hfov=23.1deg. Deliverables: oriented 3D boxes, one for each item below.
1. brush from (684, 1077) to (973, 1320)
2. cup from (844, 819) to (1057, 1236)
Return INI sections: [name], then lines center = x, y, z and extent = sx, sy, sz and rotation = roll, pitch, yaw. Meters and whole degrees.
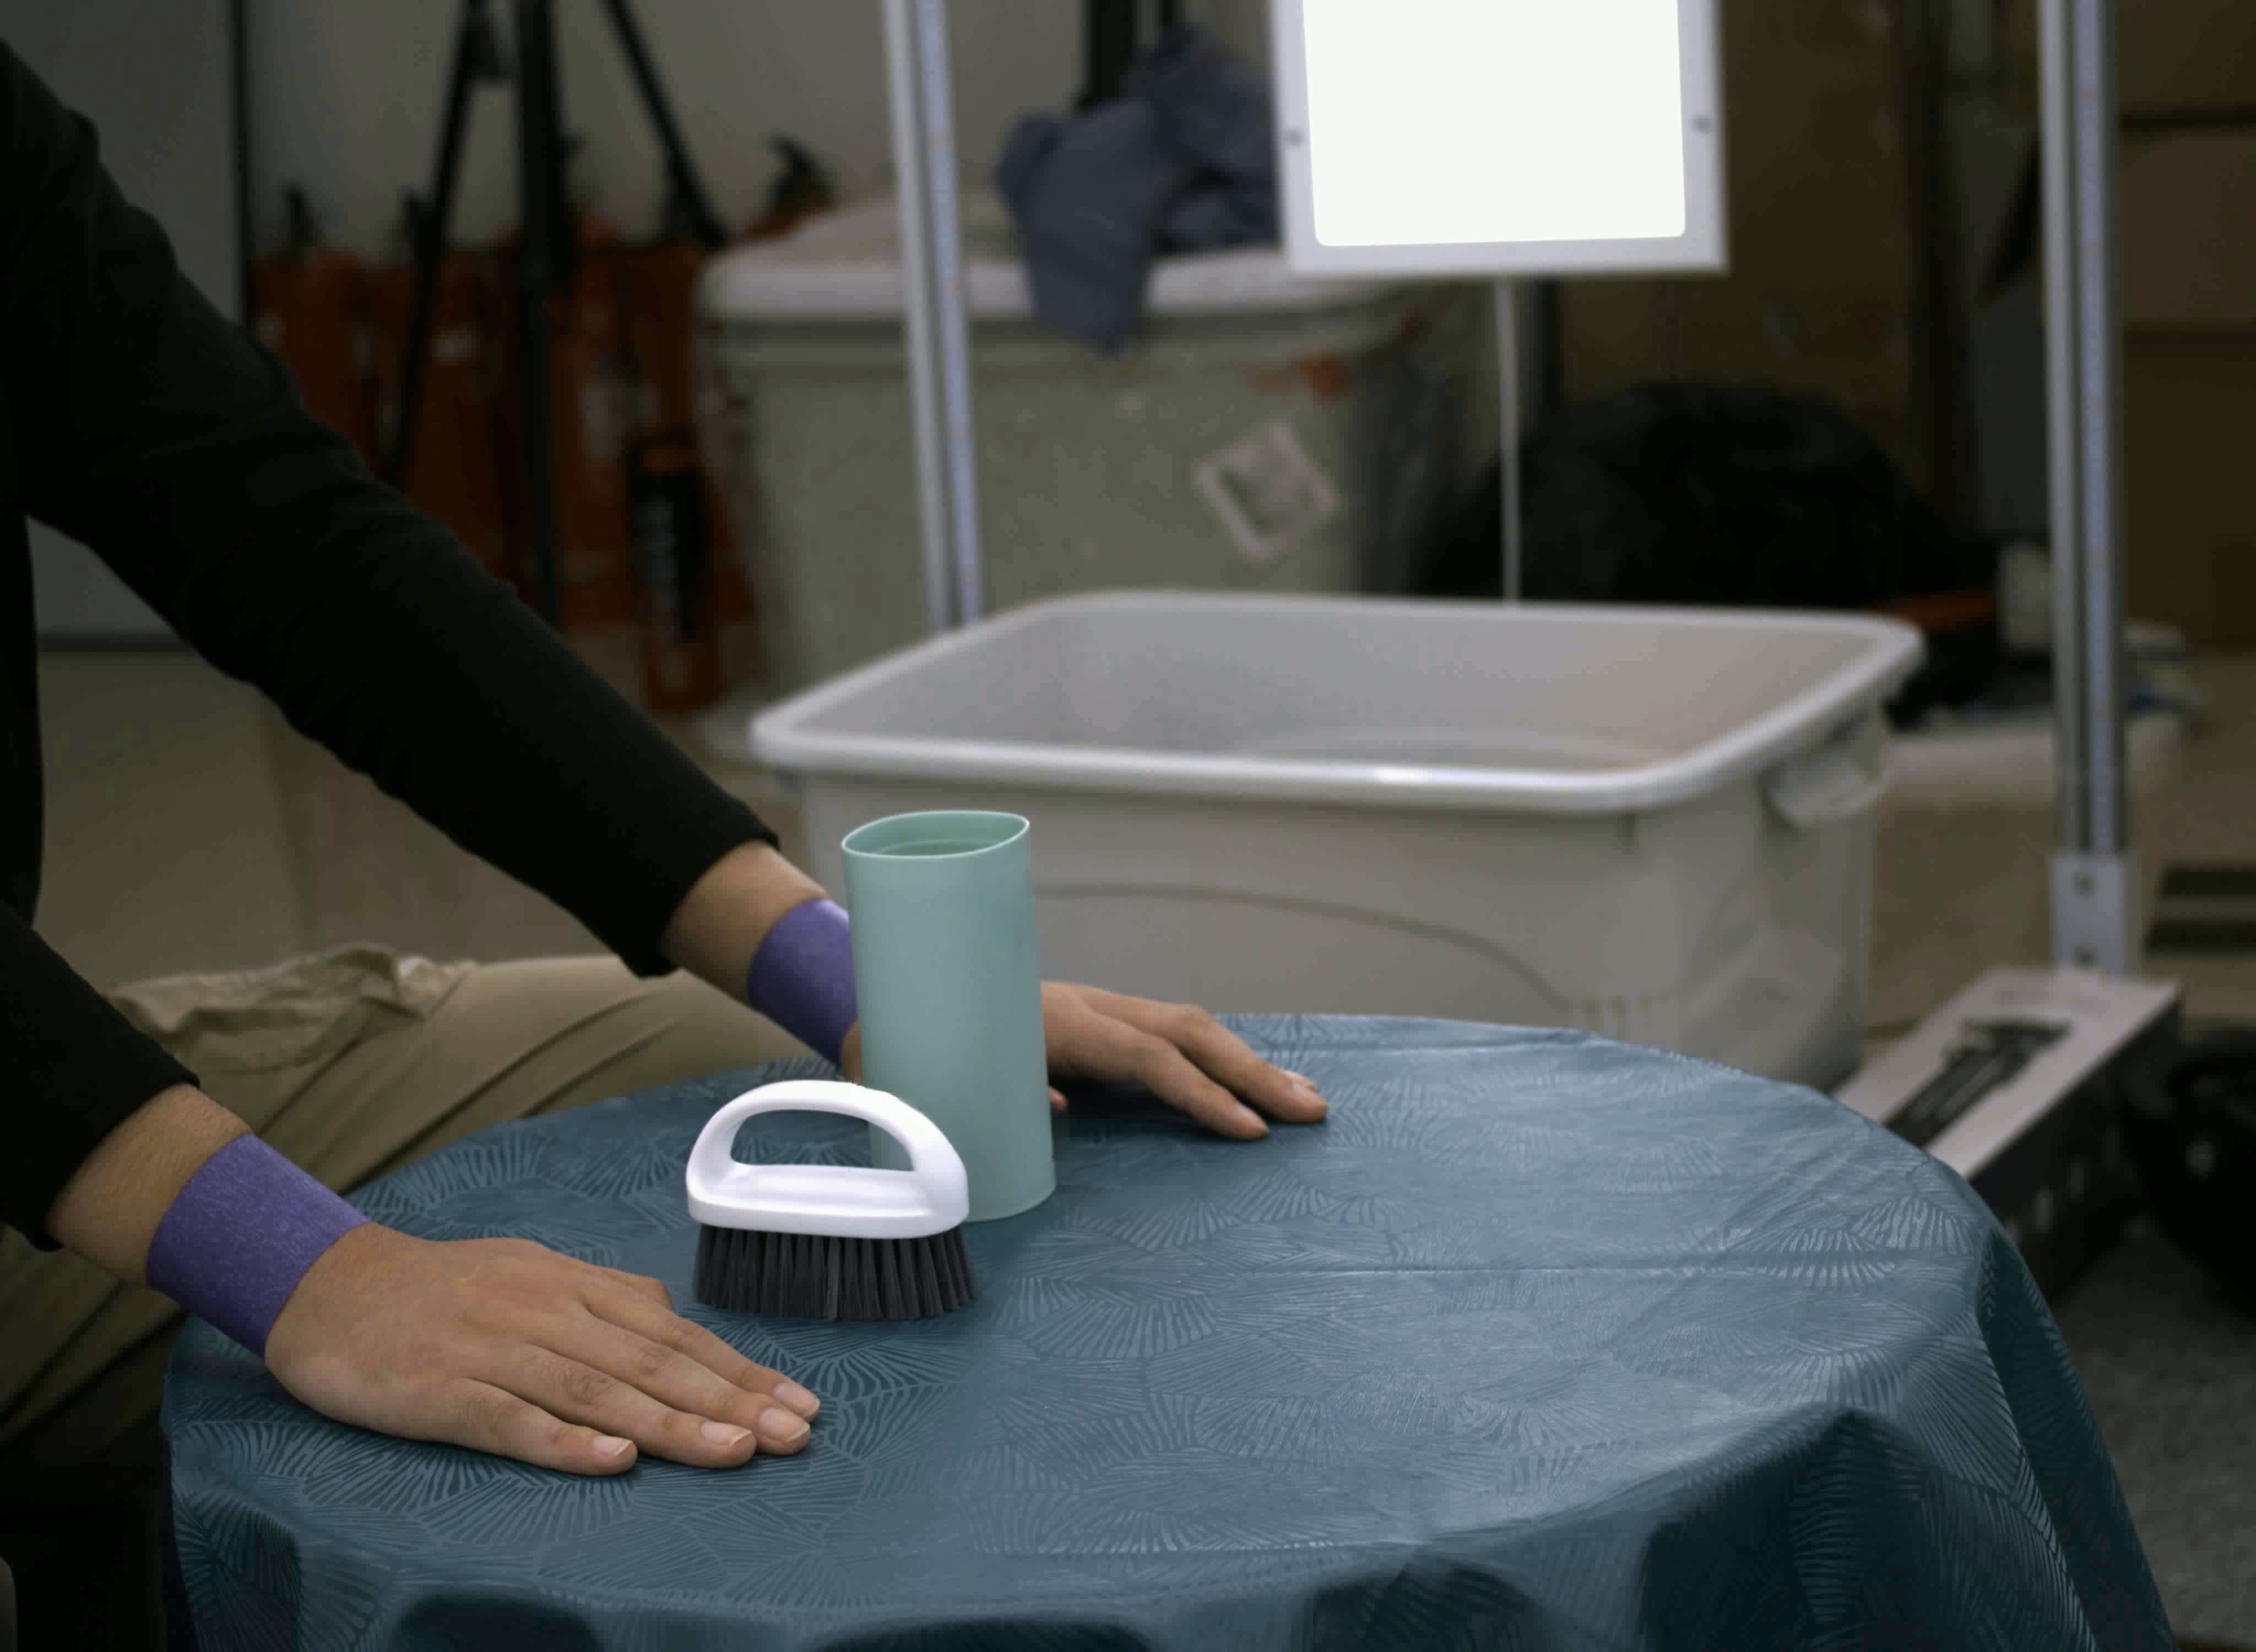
[brush]
center = -0.100, 0.119, 1.809
extent = 0.101, 0.073, 0.049
rotation = 4, 15, 28
[cup]
center = -0.061, 0.069, 1.895
extent = 0.066, 0.133, 0.066
rotation = -4, 14, 0
